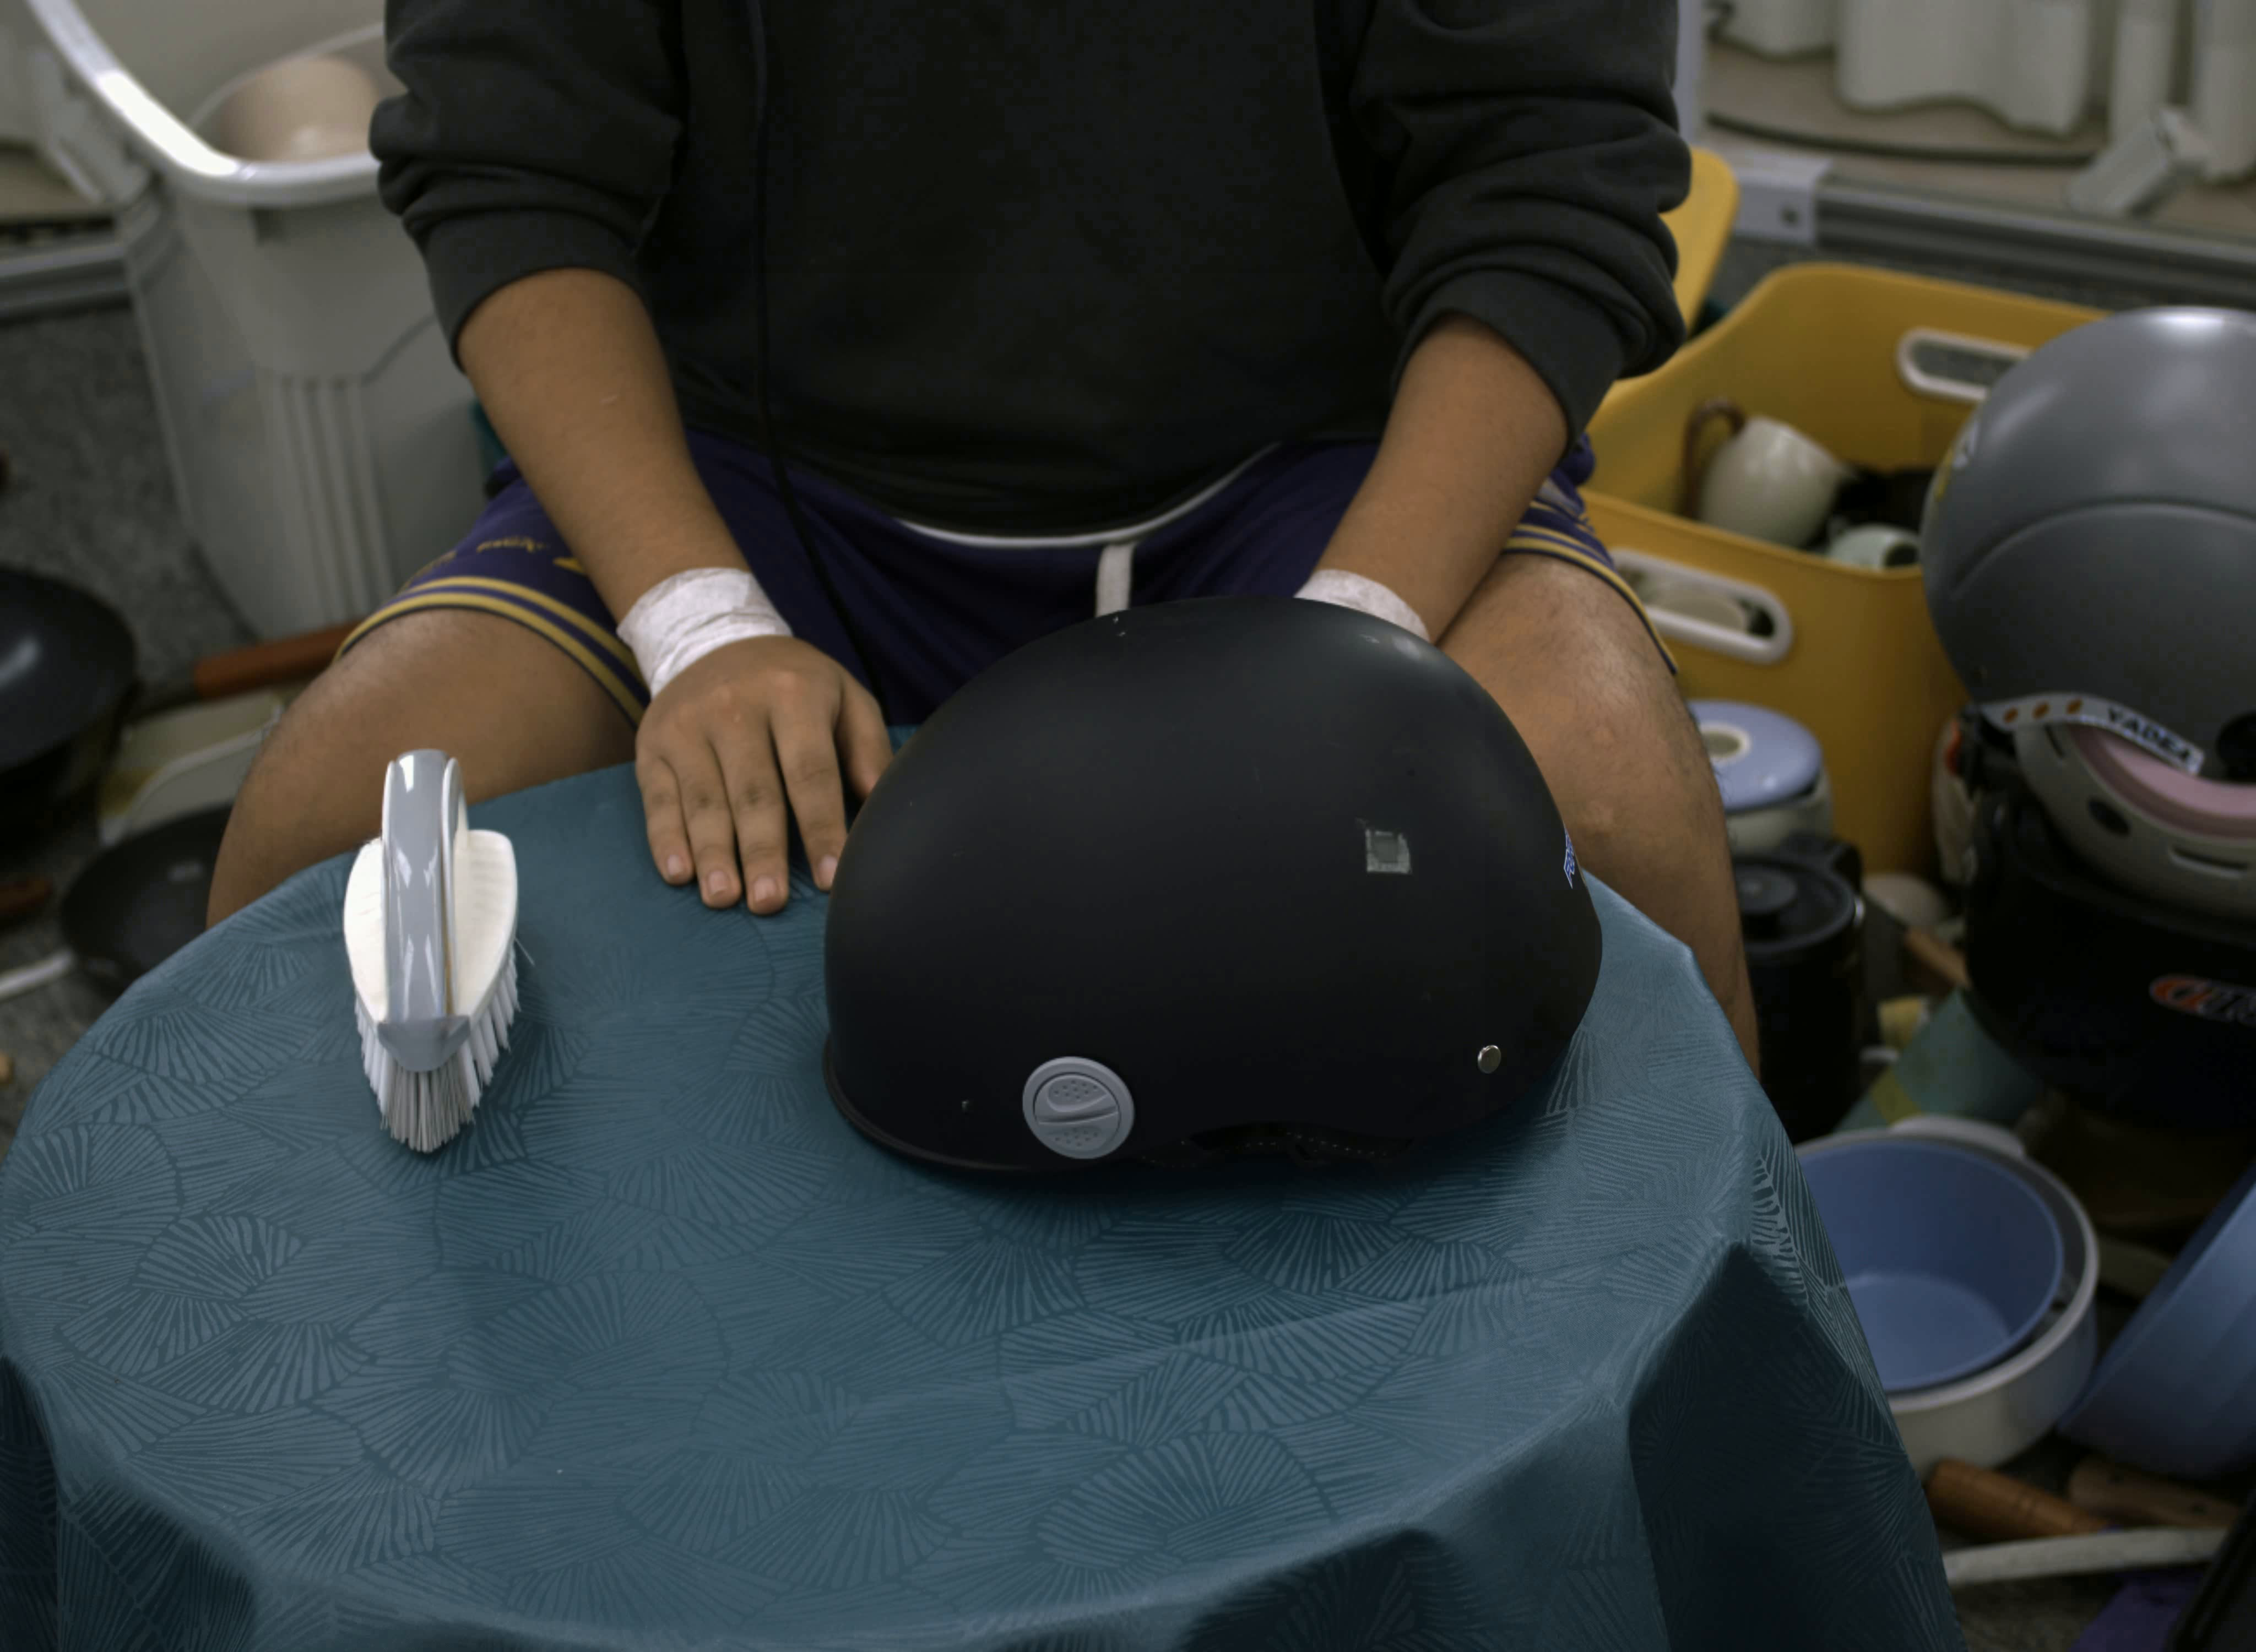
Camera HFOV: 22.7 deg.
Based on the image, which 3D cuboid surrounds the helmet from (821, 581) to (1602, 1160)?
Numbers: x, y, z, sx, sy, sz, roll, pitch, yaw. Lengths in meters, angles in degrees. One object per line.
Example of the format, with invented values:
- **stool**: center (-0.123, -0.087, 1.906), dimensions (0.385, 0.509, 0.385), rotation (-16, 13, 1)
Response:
- **helmet**: center (0.023, 0.005, 1.914), dimensions (0.271, 0.165, 0.233), rotation (-3, 26, 5)

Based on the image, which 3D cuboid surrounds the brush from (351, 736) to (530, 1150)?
- **brush**: center (-0.243, 0.033, 1.959), dimensions (0.061, 0.093, 0.178), rotation (-5, 29, -2)
